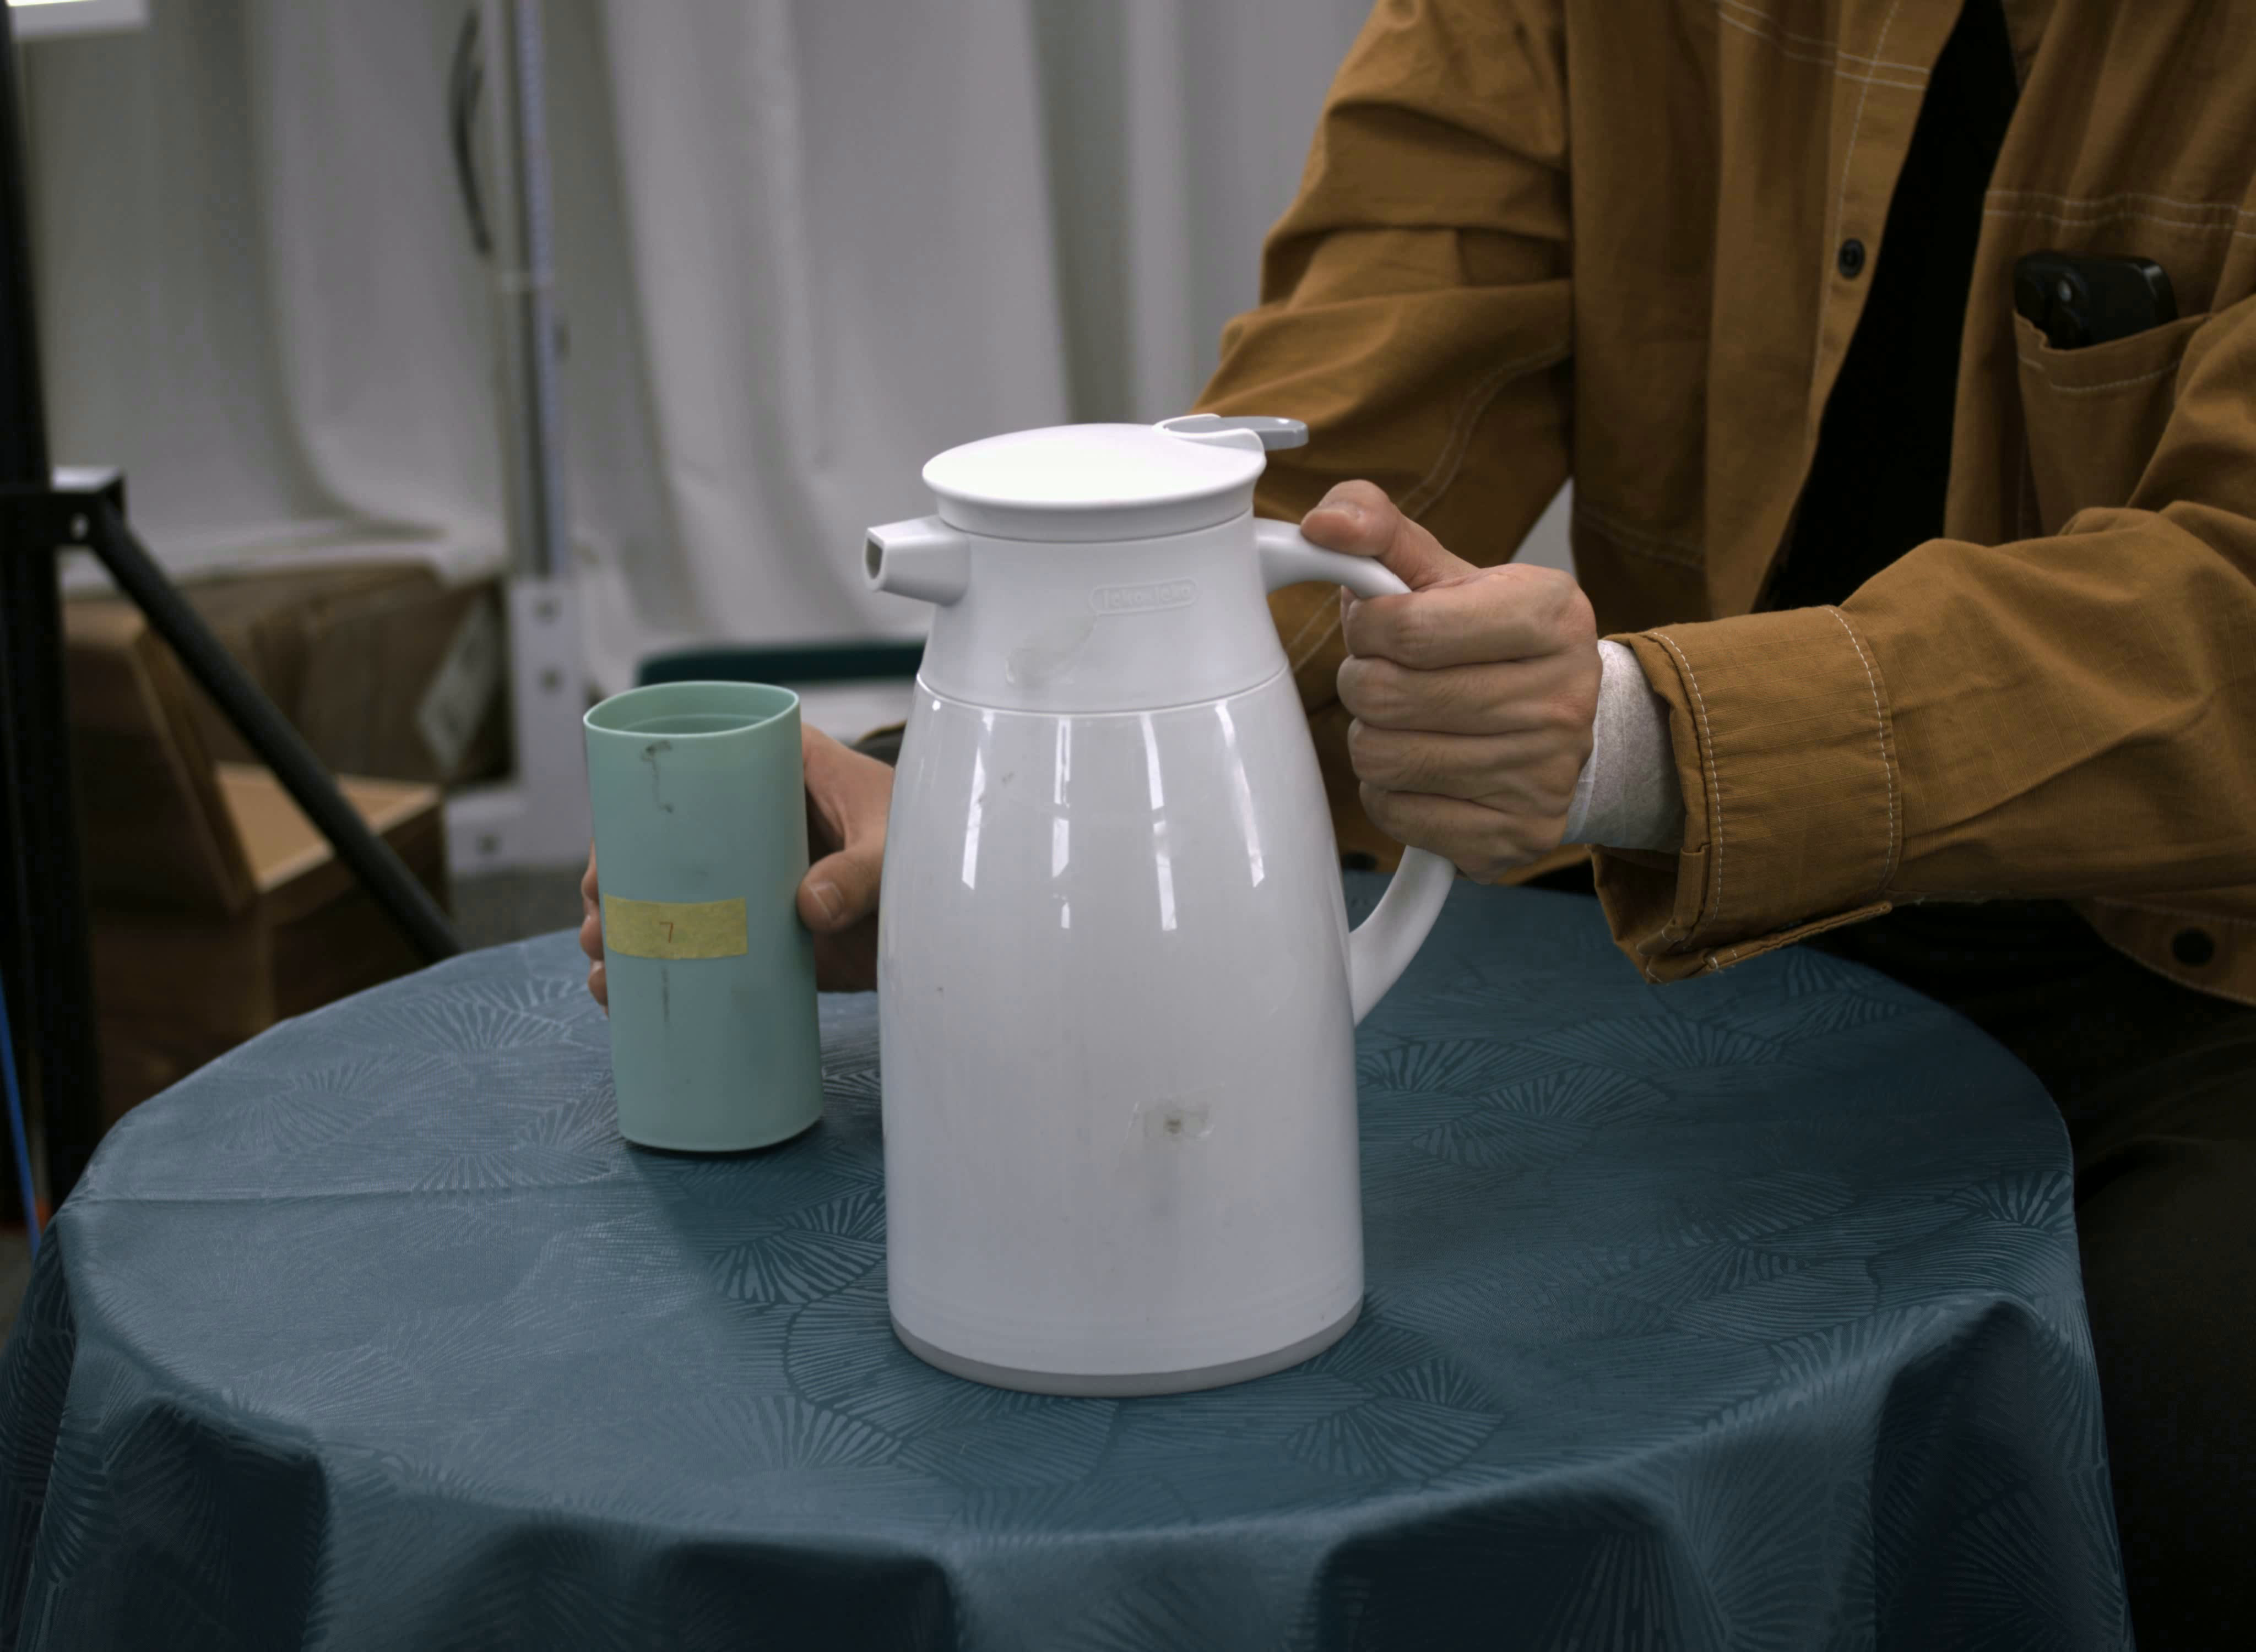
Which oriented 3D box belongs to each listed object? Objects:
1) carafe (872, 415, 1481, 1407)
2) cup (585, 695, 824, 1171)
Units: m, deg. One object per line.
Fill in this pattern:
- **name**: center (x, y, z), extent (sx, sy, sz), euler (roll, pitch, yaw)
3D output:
- **carafe**: center (0.014, 0.014, 1.437), extent (0.165, 0.248, 0.134), euler (-5, 17, -15)
- **cup**: center (-0.126, 0.031, 1.612), extent (0.066, 0.132, 0.067), euler (-3, 15, -1)
